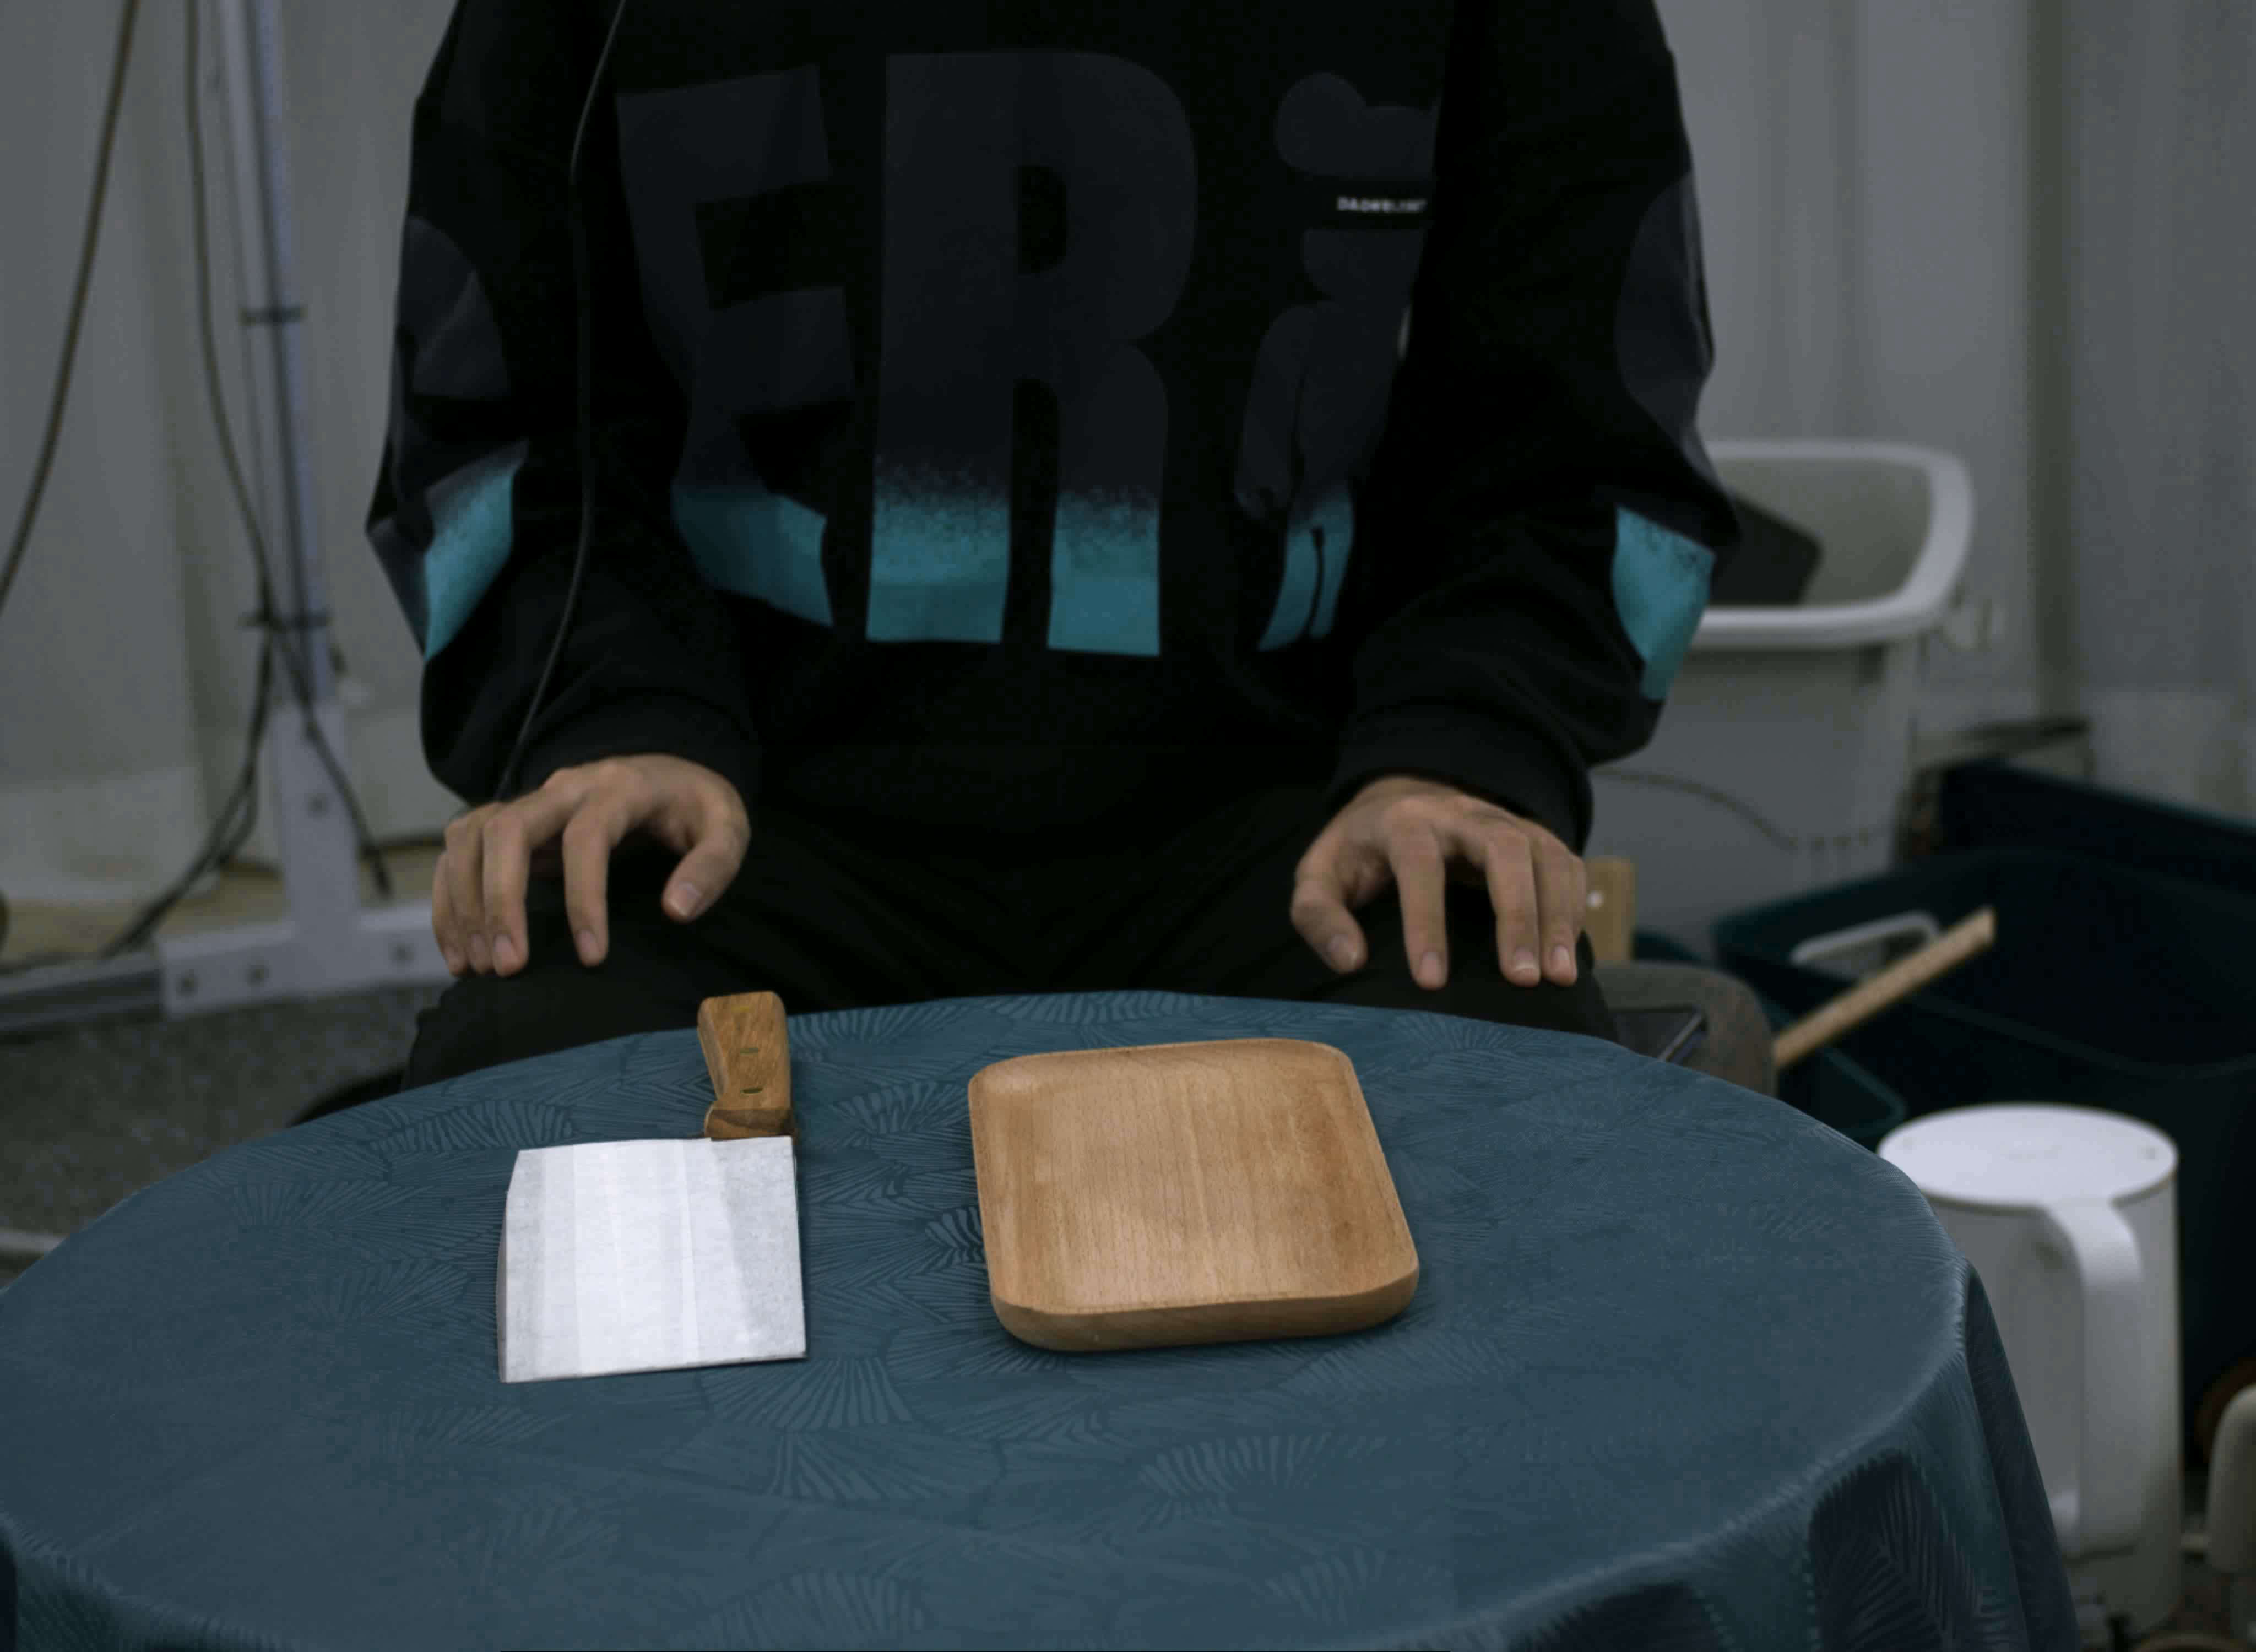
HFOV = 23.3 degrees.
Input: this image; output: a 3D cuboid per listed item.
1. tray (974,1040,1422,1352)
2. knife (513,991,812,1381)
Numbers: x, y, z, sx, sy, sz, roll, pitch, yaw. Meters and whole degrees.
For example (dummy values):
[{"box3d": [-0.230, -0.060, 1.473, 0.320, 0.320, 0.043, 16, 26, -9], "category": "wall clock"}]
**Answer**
[{"box3d": [0.018, 0.112, 1.692, 0.130, 0.023, 0.252, -1, 14, -2], "category": "tray"}, {"box3d": [-0.147, 0.112, 1.724, 0.092, 0.021, 0.308, -5, 17, -3], "category": "knife"}]
